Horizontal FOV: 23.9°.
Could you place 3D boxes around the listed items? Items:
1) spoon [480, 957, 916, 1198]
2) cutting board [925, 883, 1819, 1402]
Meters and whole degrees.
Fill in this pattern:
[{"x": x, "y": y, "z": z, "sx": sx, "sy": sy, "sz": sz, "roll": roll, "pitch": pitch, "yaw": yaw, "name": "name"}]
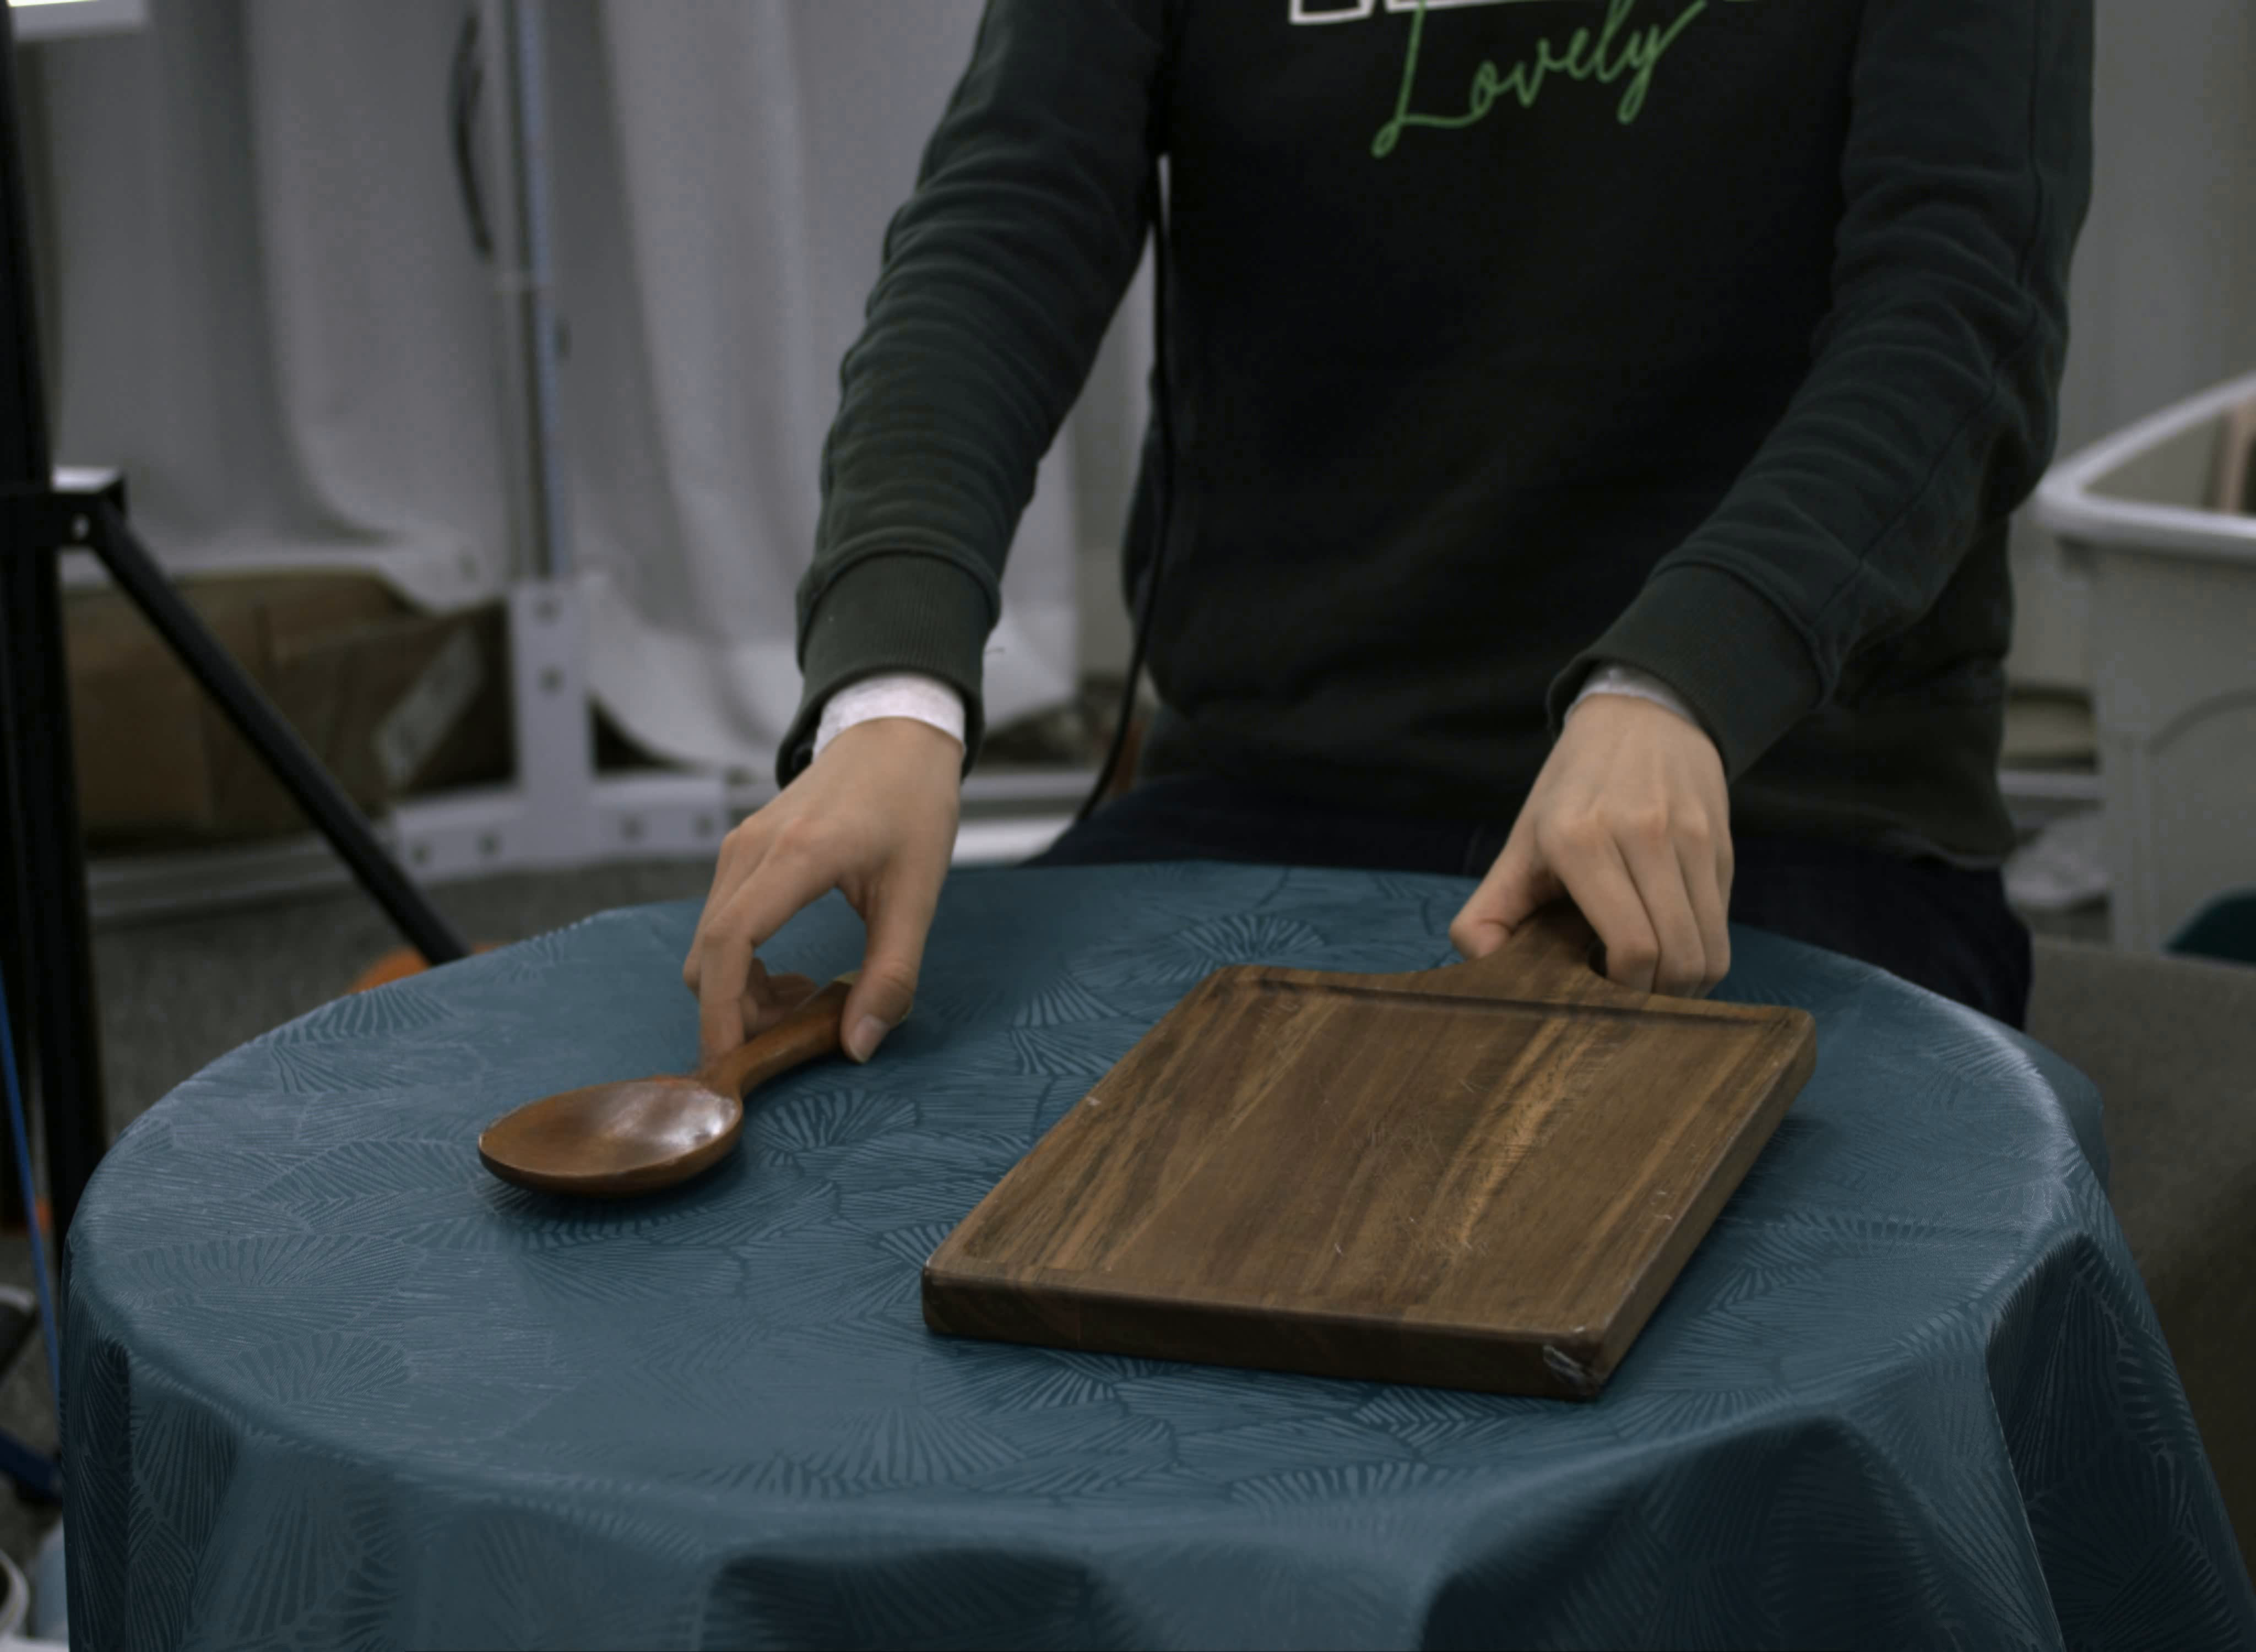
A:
[{"x": -0.124, "y": 0.079, "z": 1.647, "sx": 0.077, "sy": 0.017, "sz": 0.212, "roll": 3, "pitch": 18, "yaw": 28, "name": "spoon"}, {"x": 0.093, "y": 0.084, "z": 1.565, "sx": 0.203, "sy": 0.023, "sz": 0.348, "roll": 2, "pitch": 19, "yaw": 22, "name": "cutting board"}]
